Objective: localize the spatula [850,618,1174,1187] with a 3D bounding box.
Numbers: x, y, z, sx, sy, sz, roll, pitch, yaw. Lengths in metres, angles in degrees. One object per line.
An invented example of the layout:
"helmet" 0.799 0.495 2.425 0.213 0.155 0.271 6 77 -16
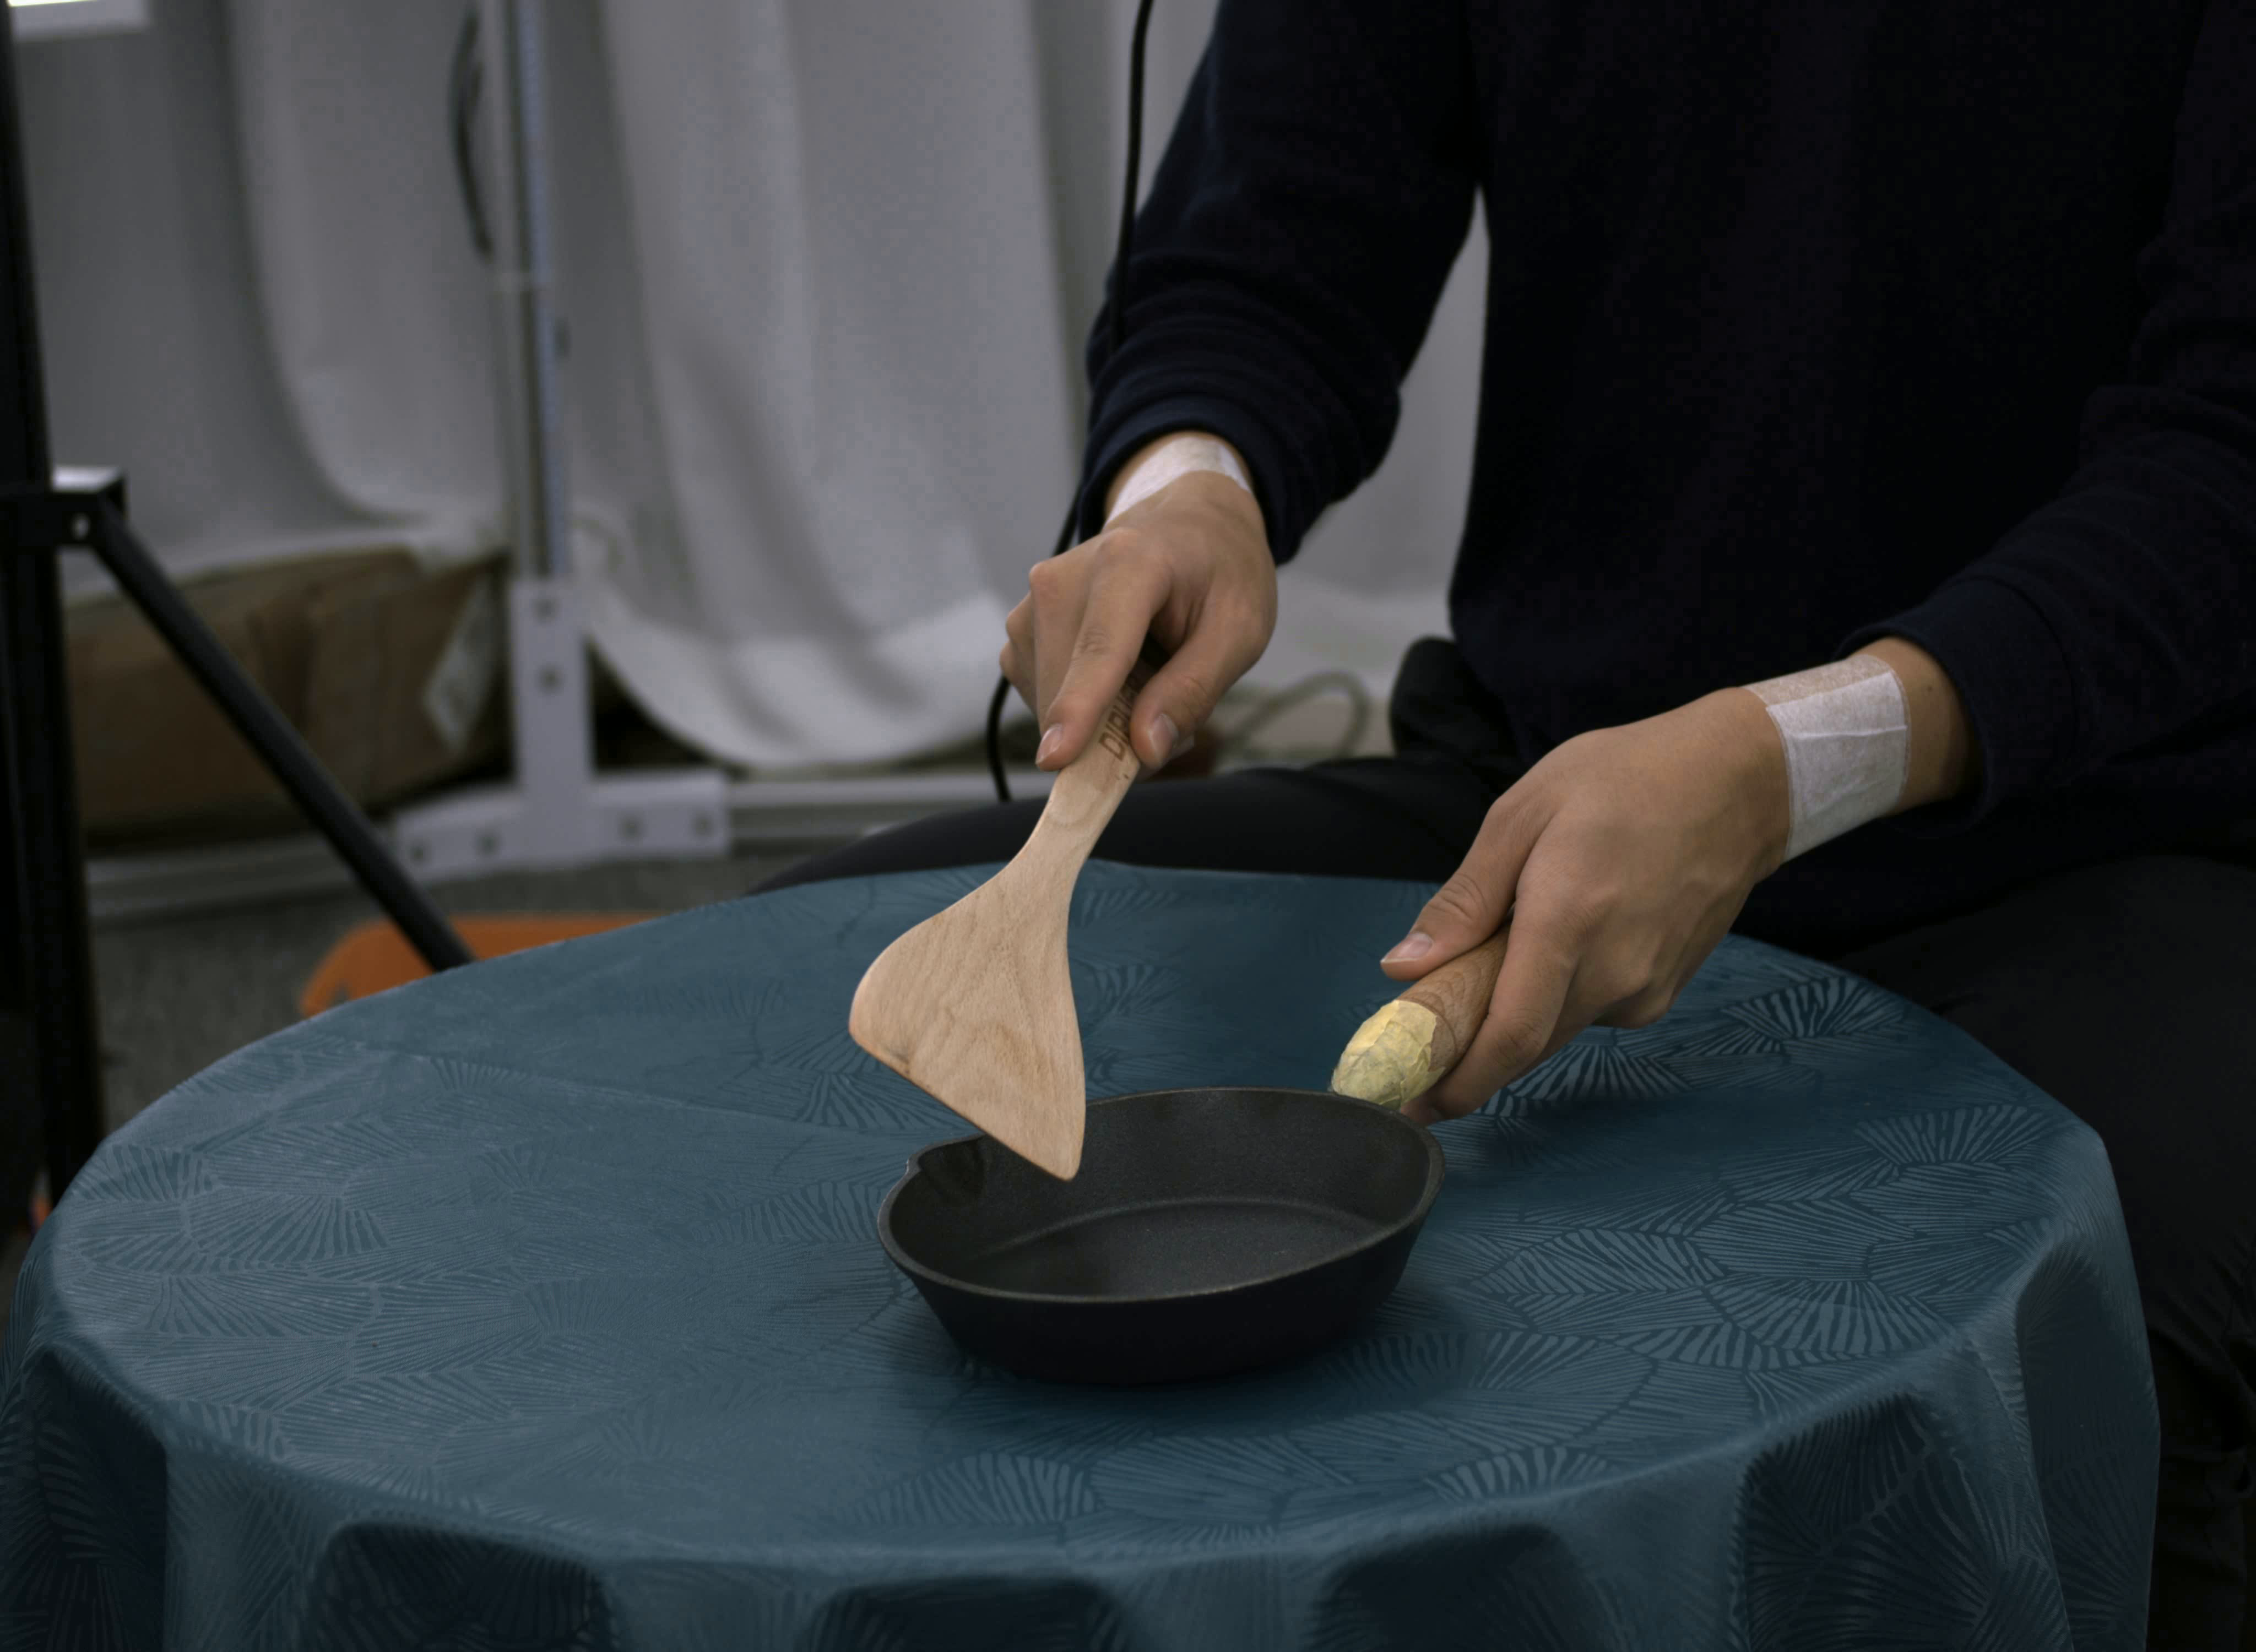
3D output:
"spatula" -0.020 0.010 1.558 0.079 0.016 0.327 39 27 -9

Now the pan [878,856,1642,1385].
"pan" 0.061 0.081 1.516 0.172 0.049 0.318 7 23 39
